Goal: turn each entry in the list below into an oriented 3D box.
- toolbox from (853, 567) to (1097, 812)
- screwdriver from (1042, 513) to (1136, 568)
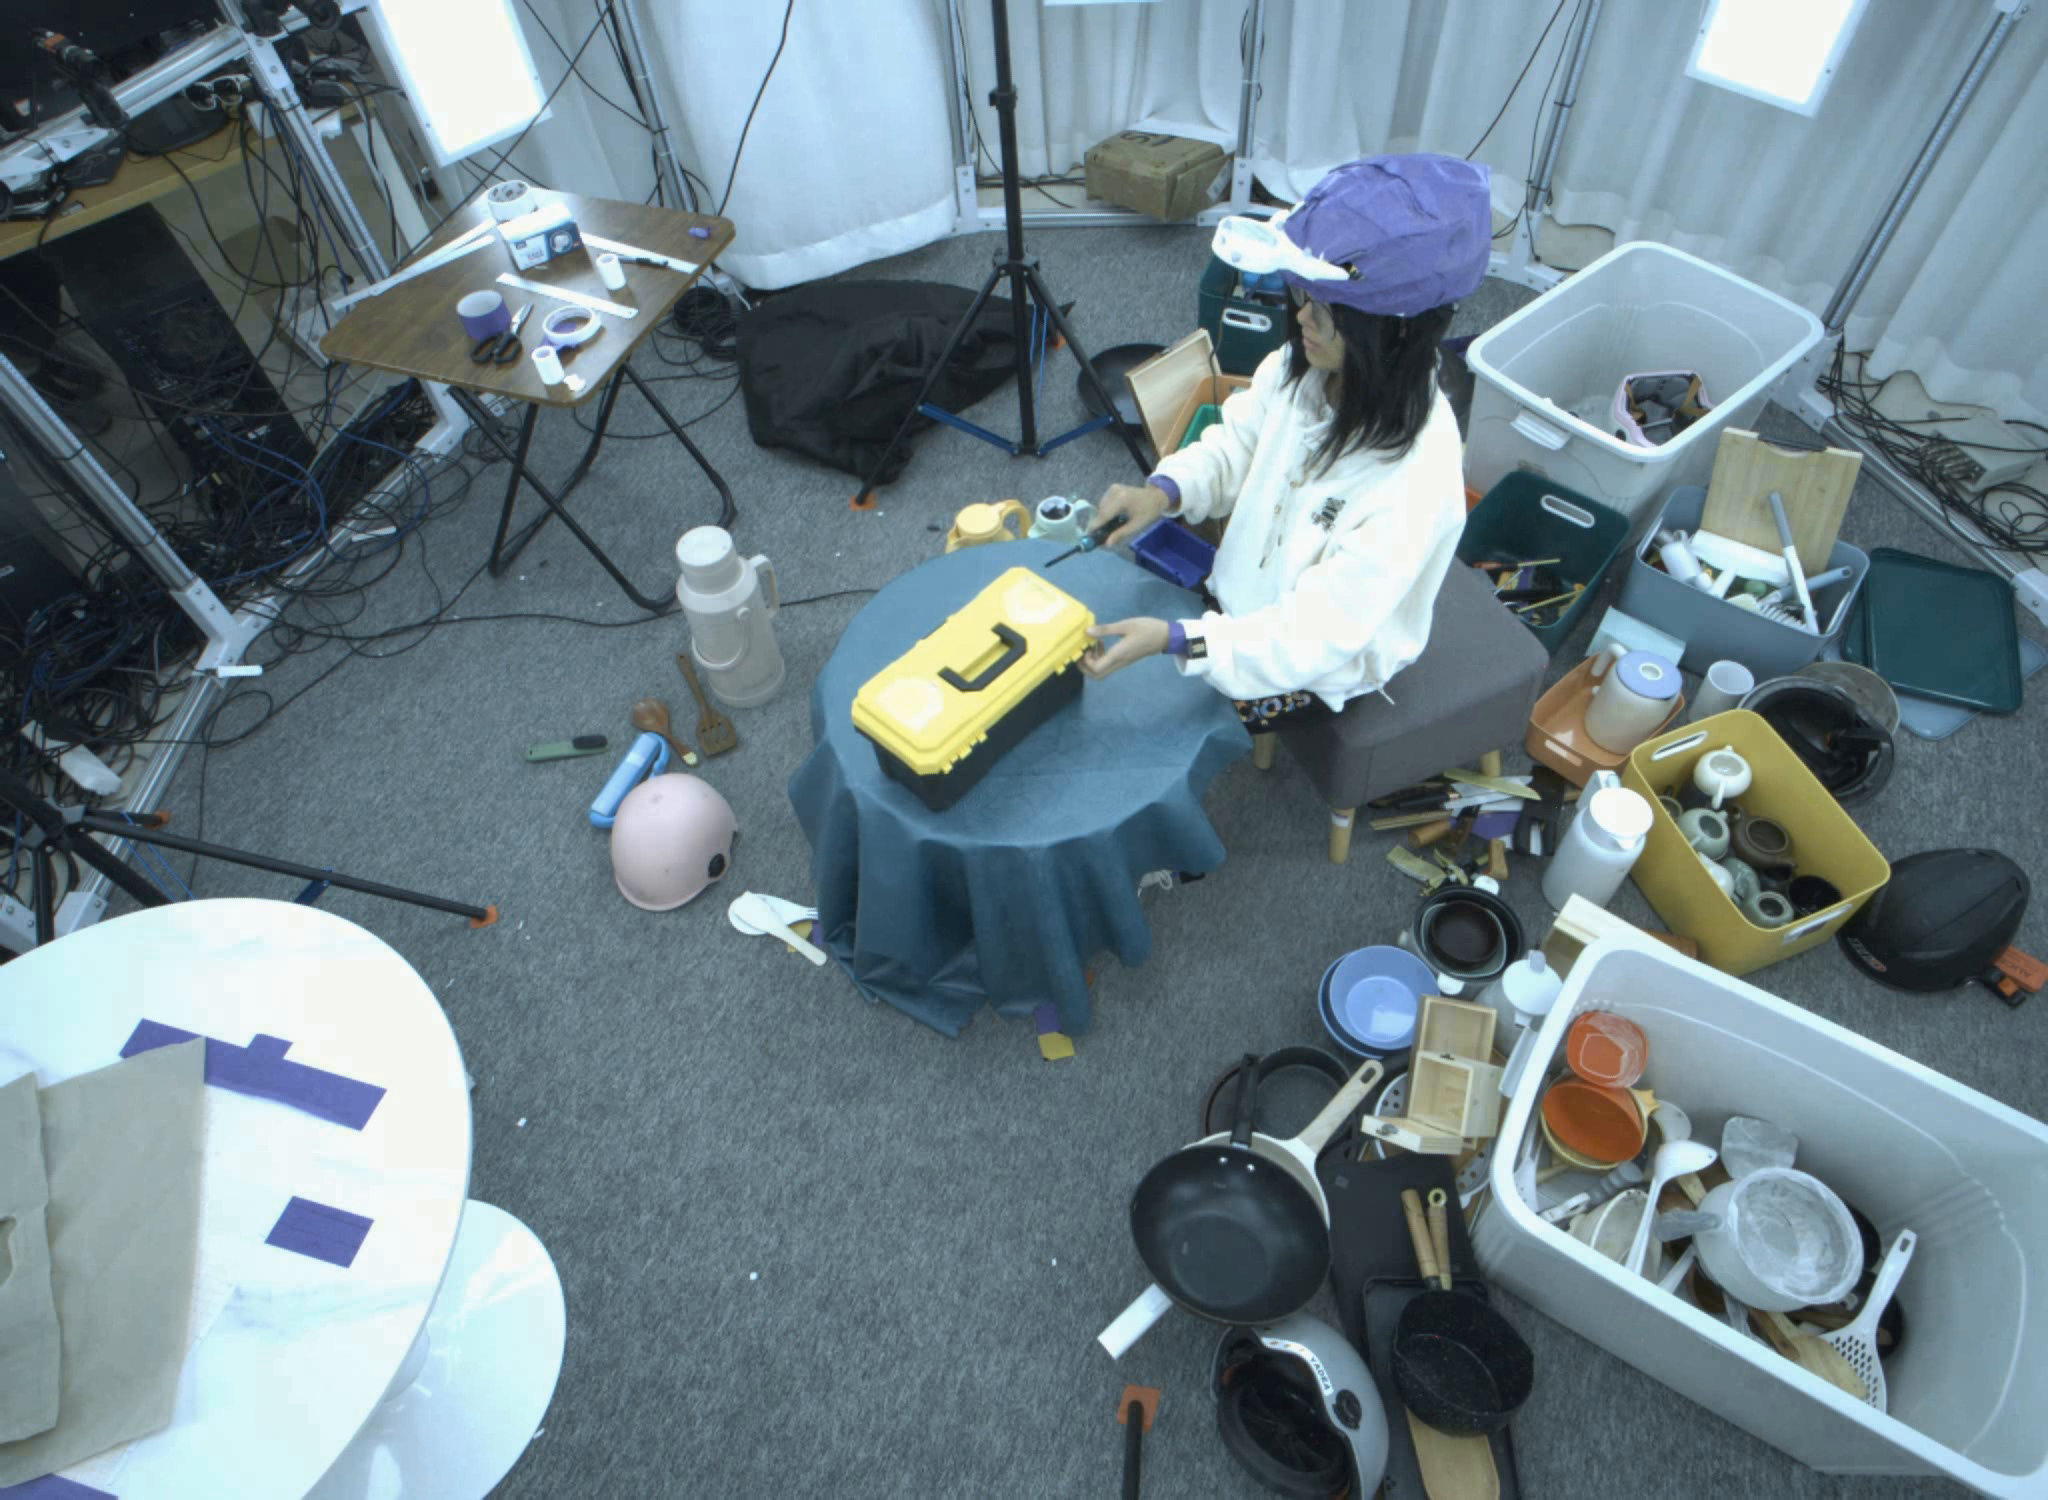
[{"bbox_3d":[-0.064,-0.086,1.744,0.178,0.175,0.354,37,64,25],"label":"toolbox"},{"bbox_3d":[0.094,-0.307,1.821,0.192,0.034,0.033,-33,59,-32],"label":"screwdriver"}]
